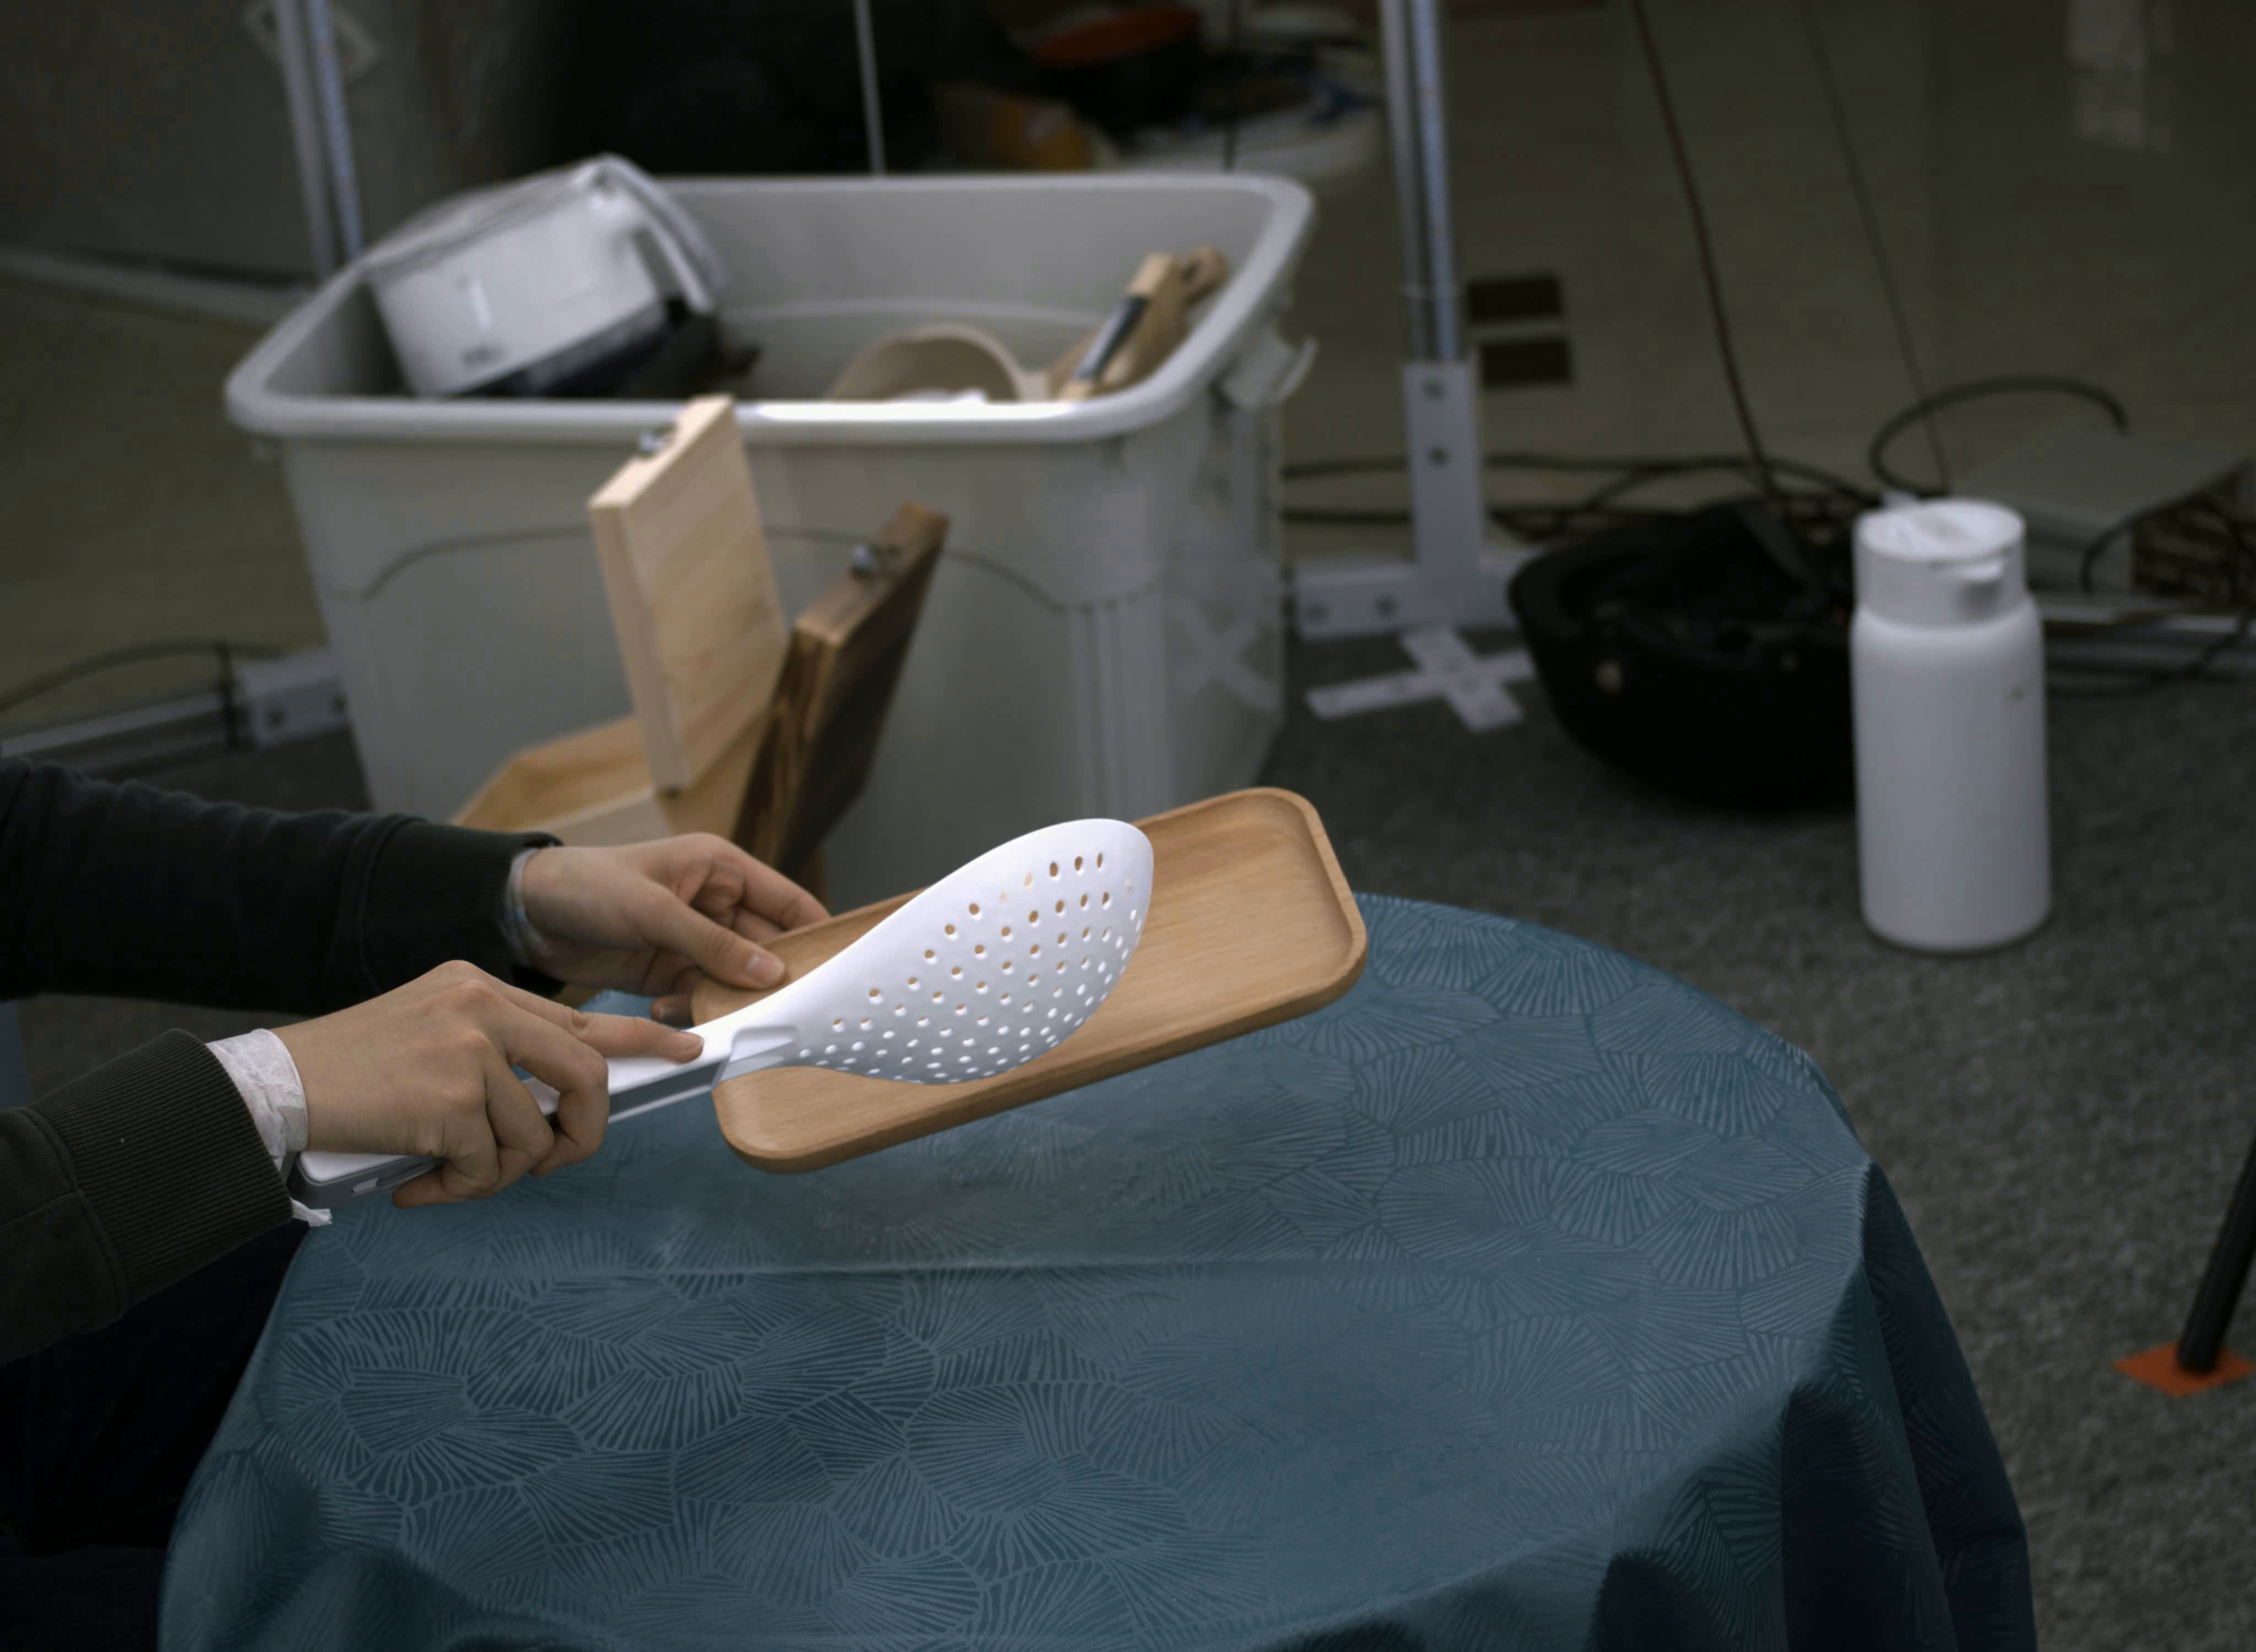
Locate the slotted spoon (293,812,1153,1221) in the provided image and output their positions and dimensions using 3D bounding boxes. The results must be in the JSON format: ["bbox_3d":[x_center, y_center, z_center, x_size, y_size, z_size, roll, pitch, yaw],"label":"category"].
[{"bbox_3d":[-0.132,0.074,1.959,0.348,0.138,0.045,-13,57,-30],"label":"slotted spoon"}]

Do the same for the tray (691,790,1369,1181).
[{"bbox_3d":[-0.037,0.060,2.128,0.250,0.023,0.128,-18,38,-1],"label":"tray"}]
